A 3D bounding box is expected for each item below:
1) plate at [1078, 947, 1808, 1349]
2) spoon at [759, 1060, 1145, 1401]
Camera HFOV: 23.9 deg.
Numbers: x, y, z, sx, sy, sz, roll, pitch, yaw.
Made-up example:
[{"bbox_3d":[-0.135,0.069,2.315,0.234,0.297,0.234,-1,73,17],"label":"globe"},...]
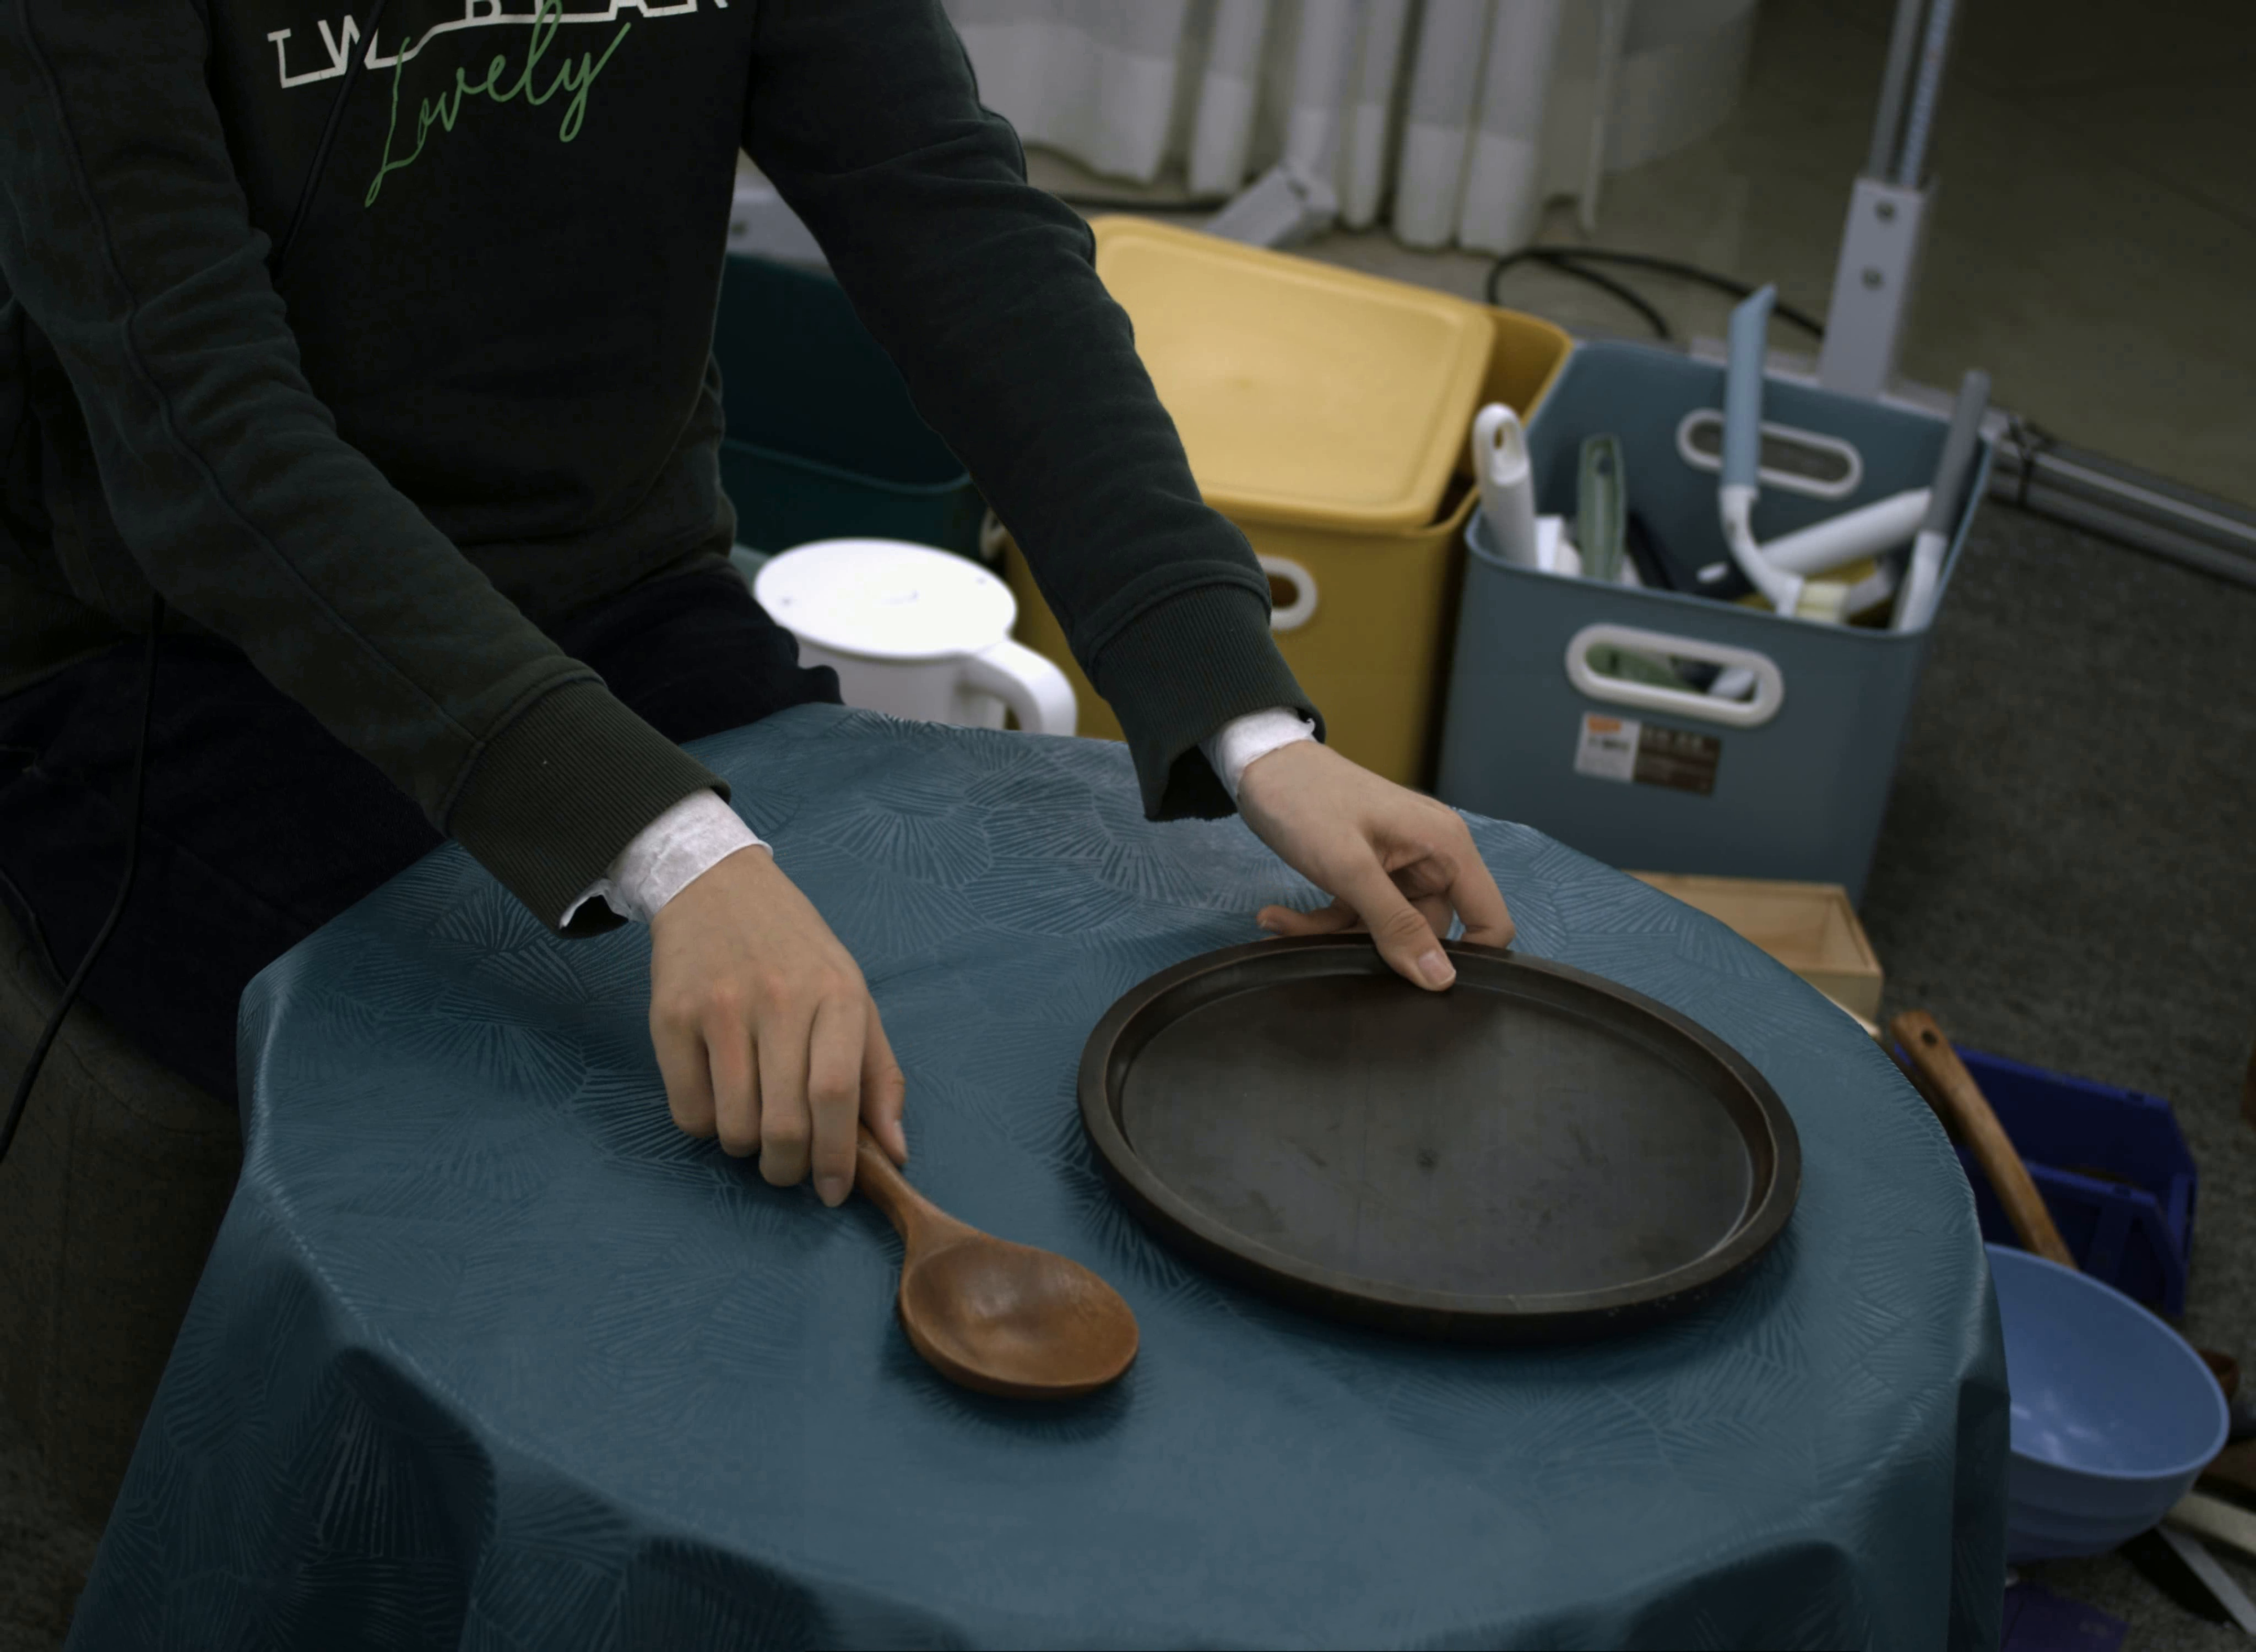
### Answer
[{"bbox_3d":[0.107,0.108,1.830,0.254,0.029,0.256,6,27,-4],"label":"plate"},{"bbox_3d":[-0.066,0.133,1.748,0.075,0.017,0.218,-10,31,-28],"label":"spoon"}]
